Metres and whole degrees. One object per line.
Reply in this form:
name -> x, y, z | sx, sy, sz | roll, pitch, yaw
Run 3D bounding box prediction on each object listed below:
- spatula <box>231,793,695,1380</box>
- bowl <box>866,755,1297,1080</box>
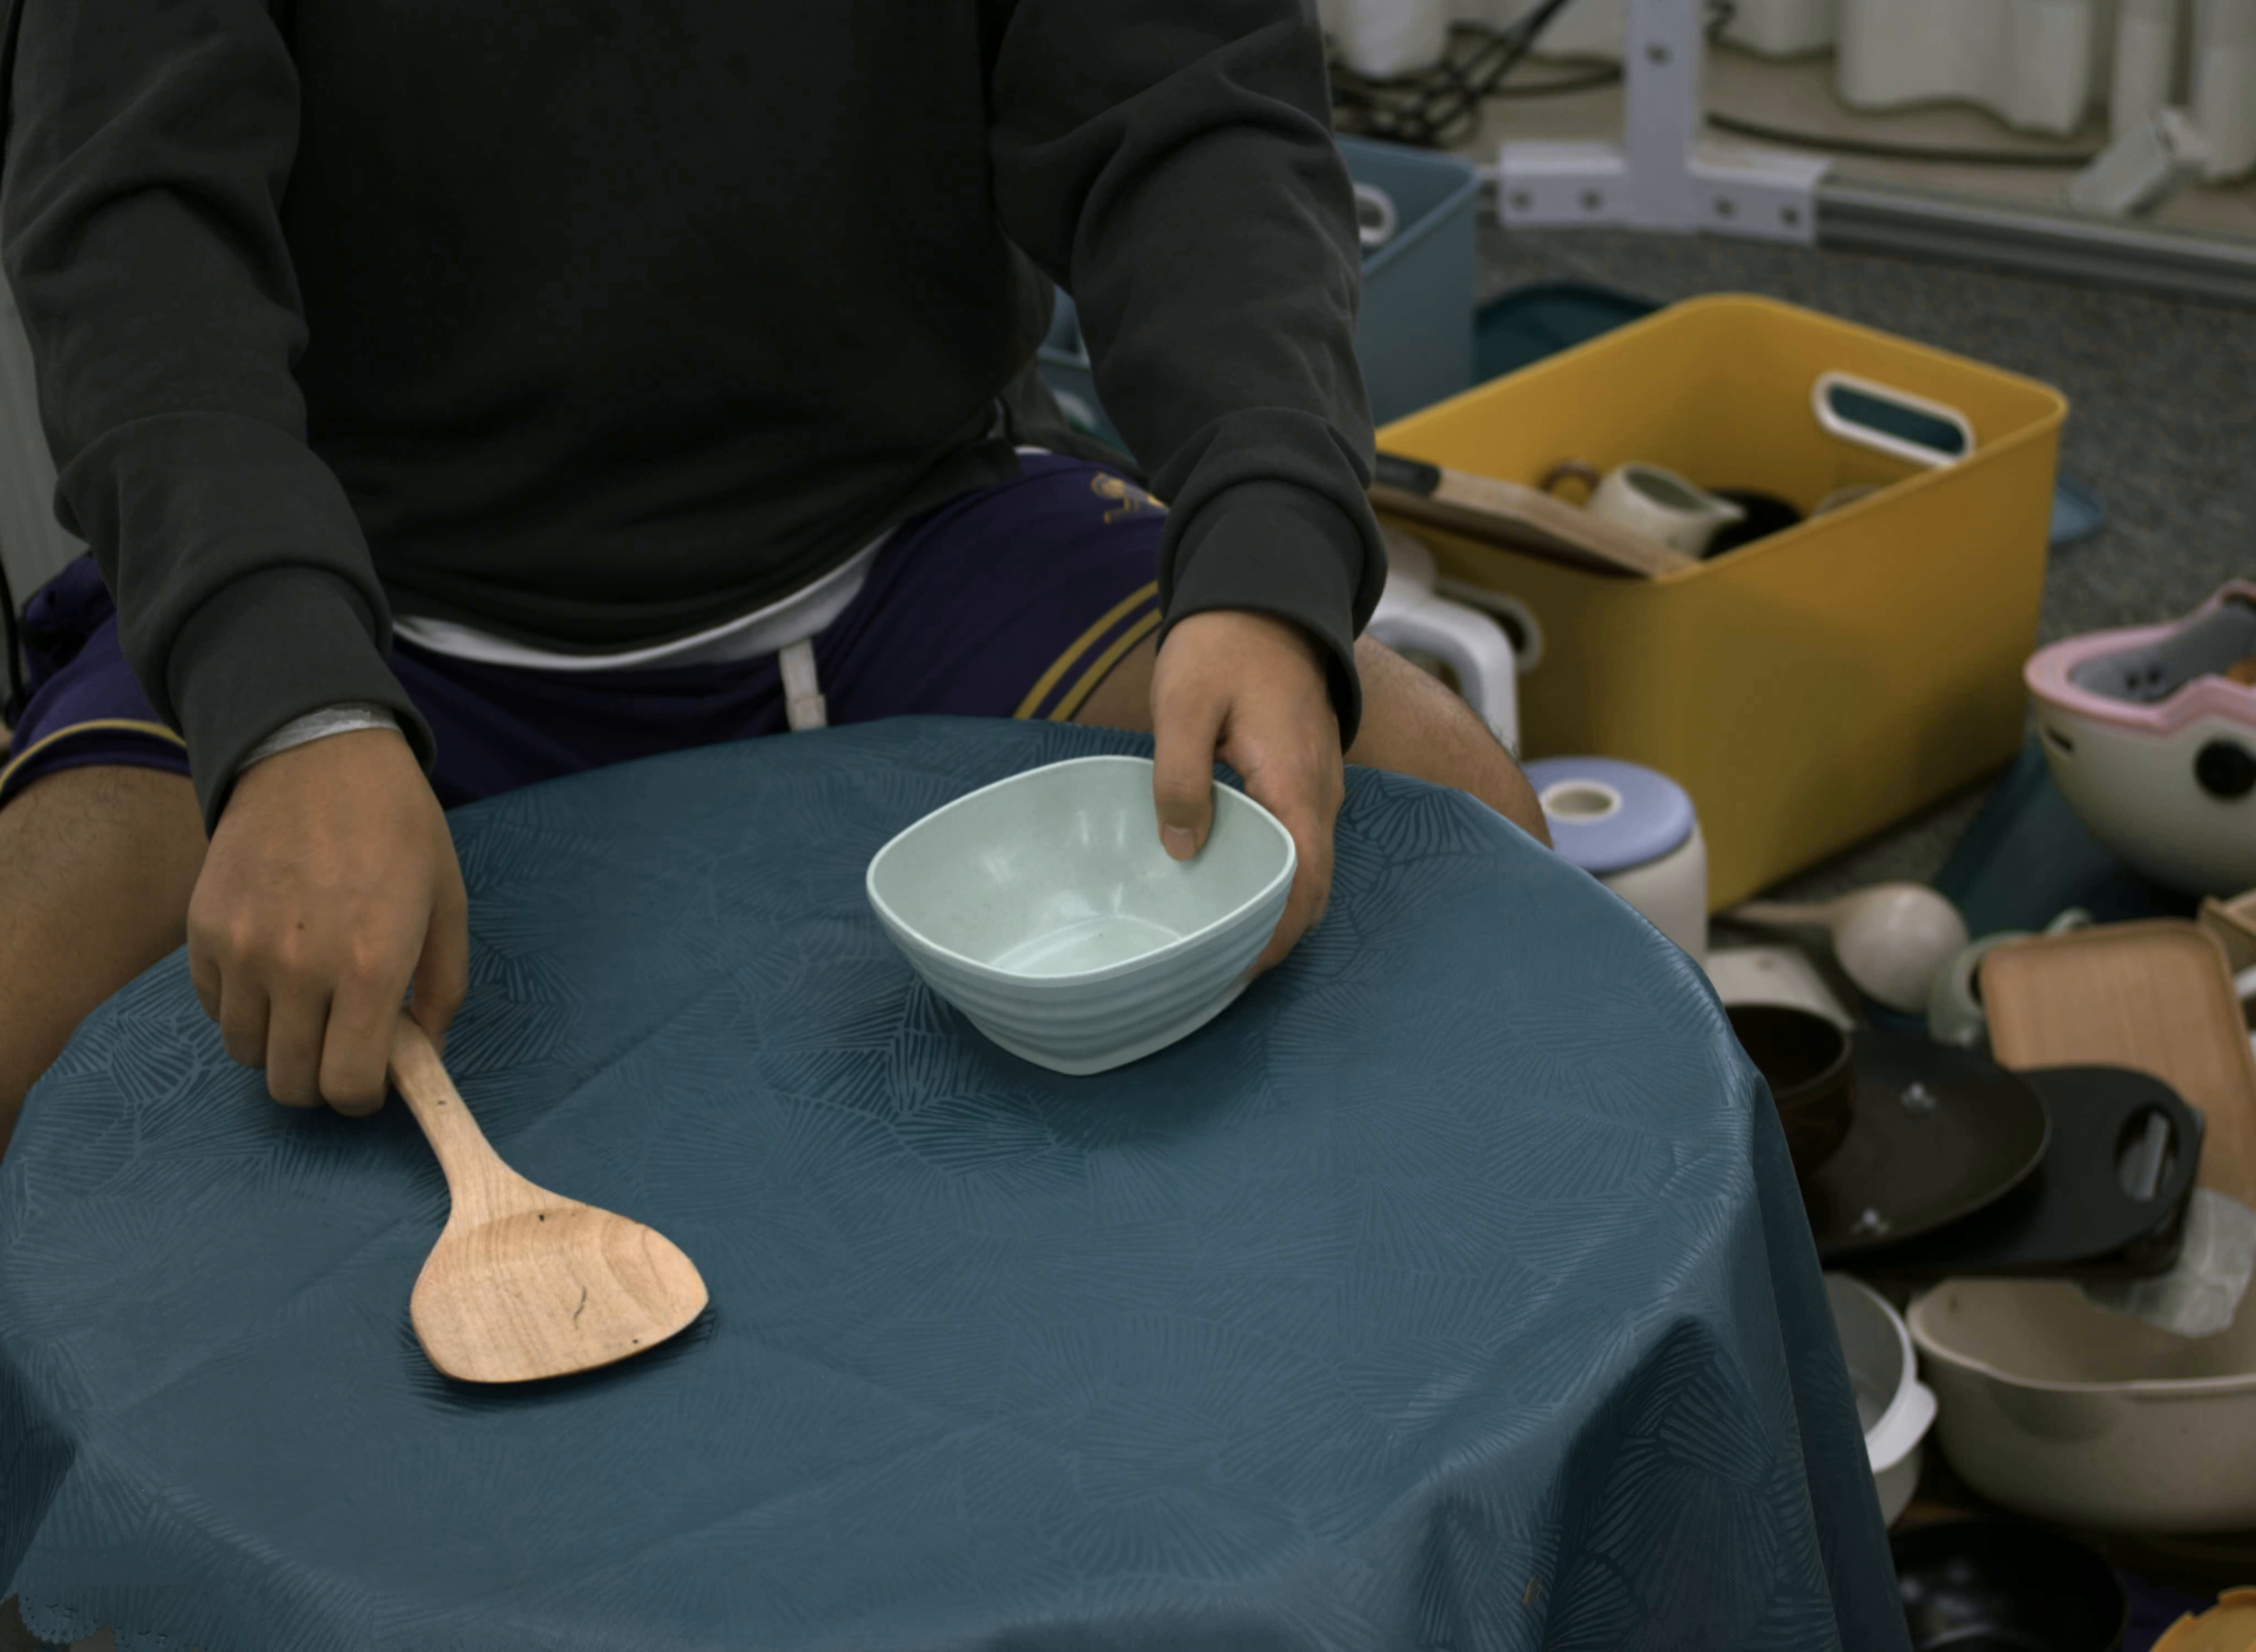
spatula -> -0.250, 0.083, 1.924 | 0.096, 0.018, 0.394 | -11, 33, -21
bowl -> -0.014, 0.038, 1.962 | 0.150, 0.058, 0.154 | -3, 30, 2
